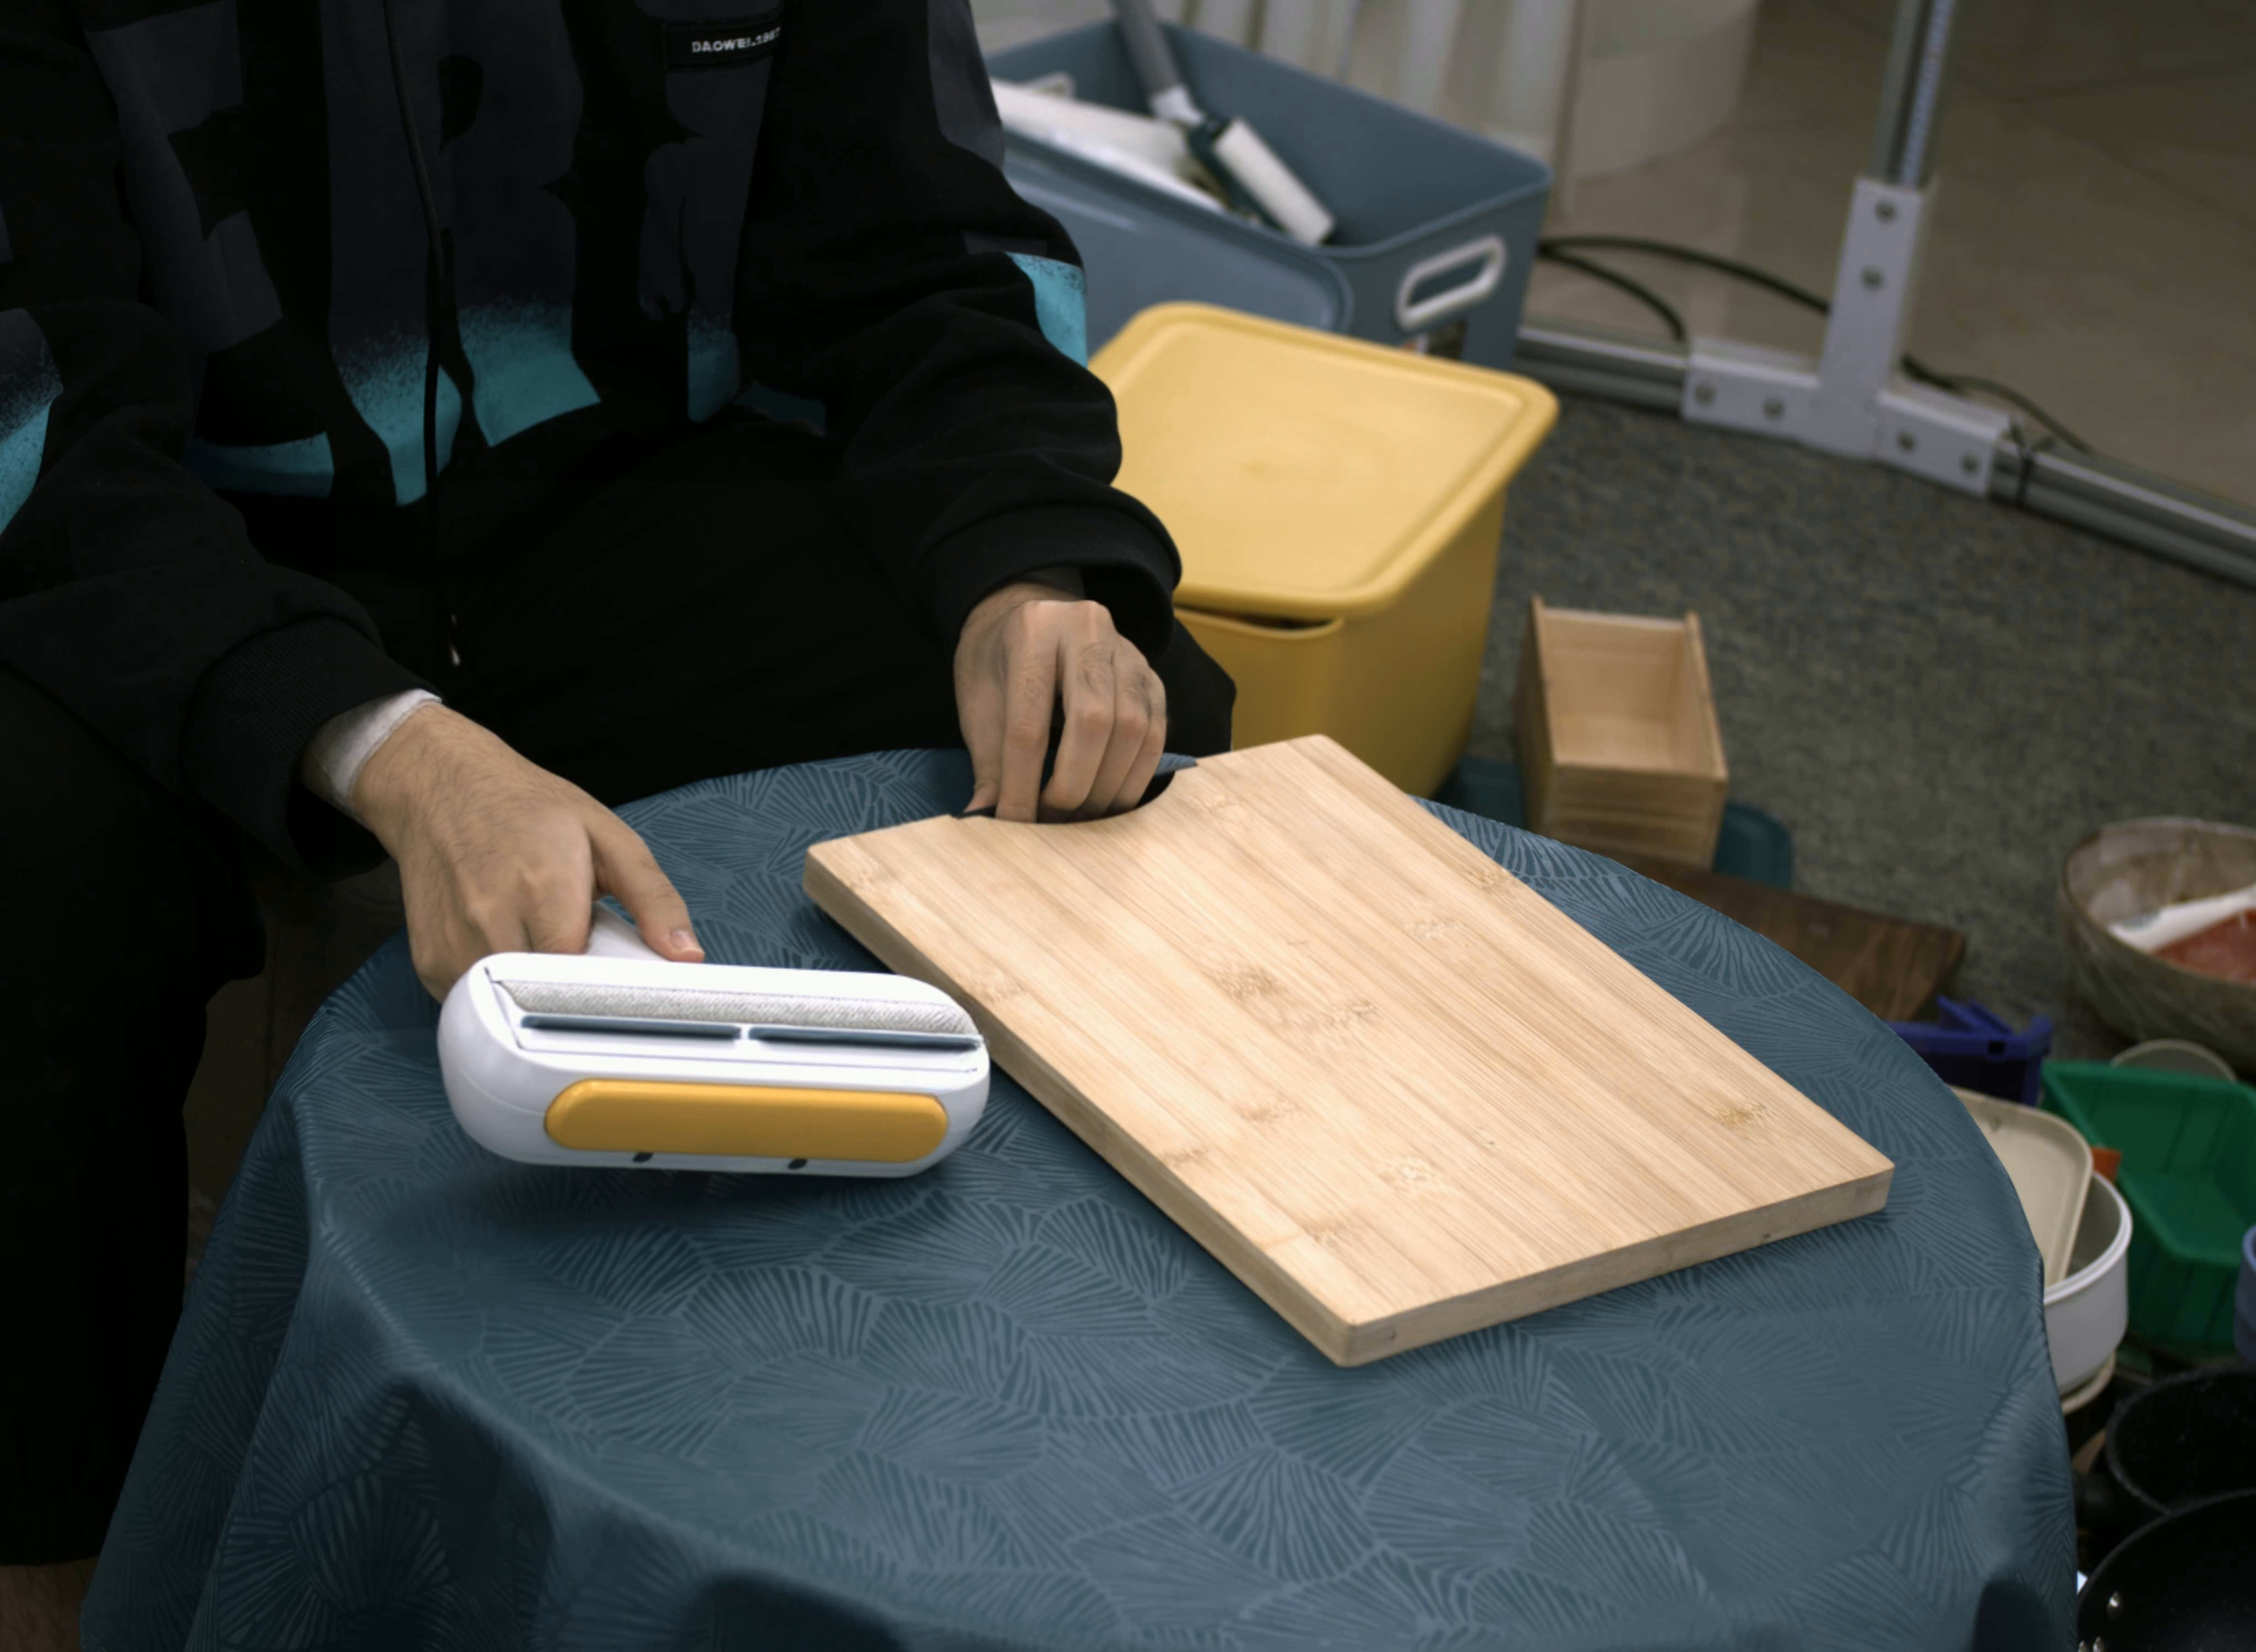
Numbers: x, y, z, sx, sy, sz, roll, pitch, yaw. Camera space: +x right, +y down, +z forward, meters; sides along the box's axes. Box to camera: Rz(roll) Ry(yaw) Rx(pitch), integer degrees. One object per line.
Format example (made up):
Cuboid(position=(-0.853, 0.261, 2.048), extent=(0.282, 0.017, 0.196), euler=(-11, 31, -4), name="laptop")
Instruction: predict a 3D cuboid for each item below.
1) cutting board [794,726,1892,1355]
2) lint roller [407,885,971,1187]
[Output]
Cuboid(position=(0.070, 0.068, 1.897), extent=(0.249, 0.023, 0.352), euler=(-13, 34, -33), name="cutting board")
Cuboid(position=(-0.166, 0.058, 1.810), extent=(0.191, 0.074, 0.194), euler=(2, 28, -24), name="lint roller")
